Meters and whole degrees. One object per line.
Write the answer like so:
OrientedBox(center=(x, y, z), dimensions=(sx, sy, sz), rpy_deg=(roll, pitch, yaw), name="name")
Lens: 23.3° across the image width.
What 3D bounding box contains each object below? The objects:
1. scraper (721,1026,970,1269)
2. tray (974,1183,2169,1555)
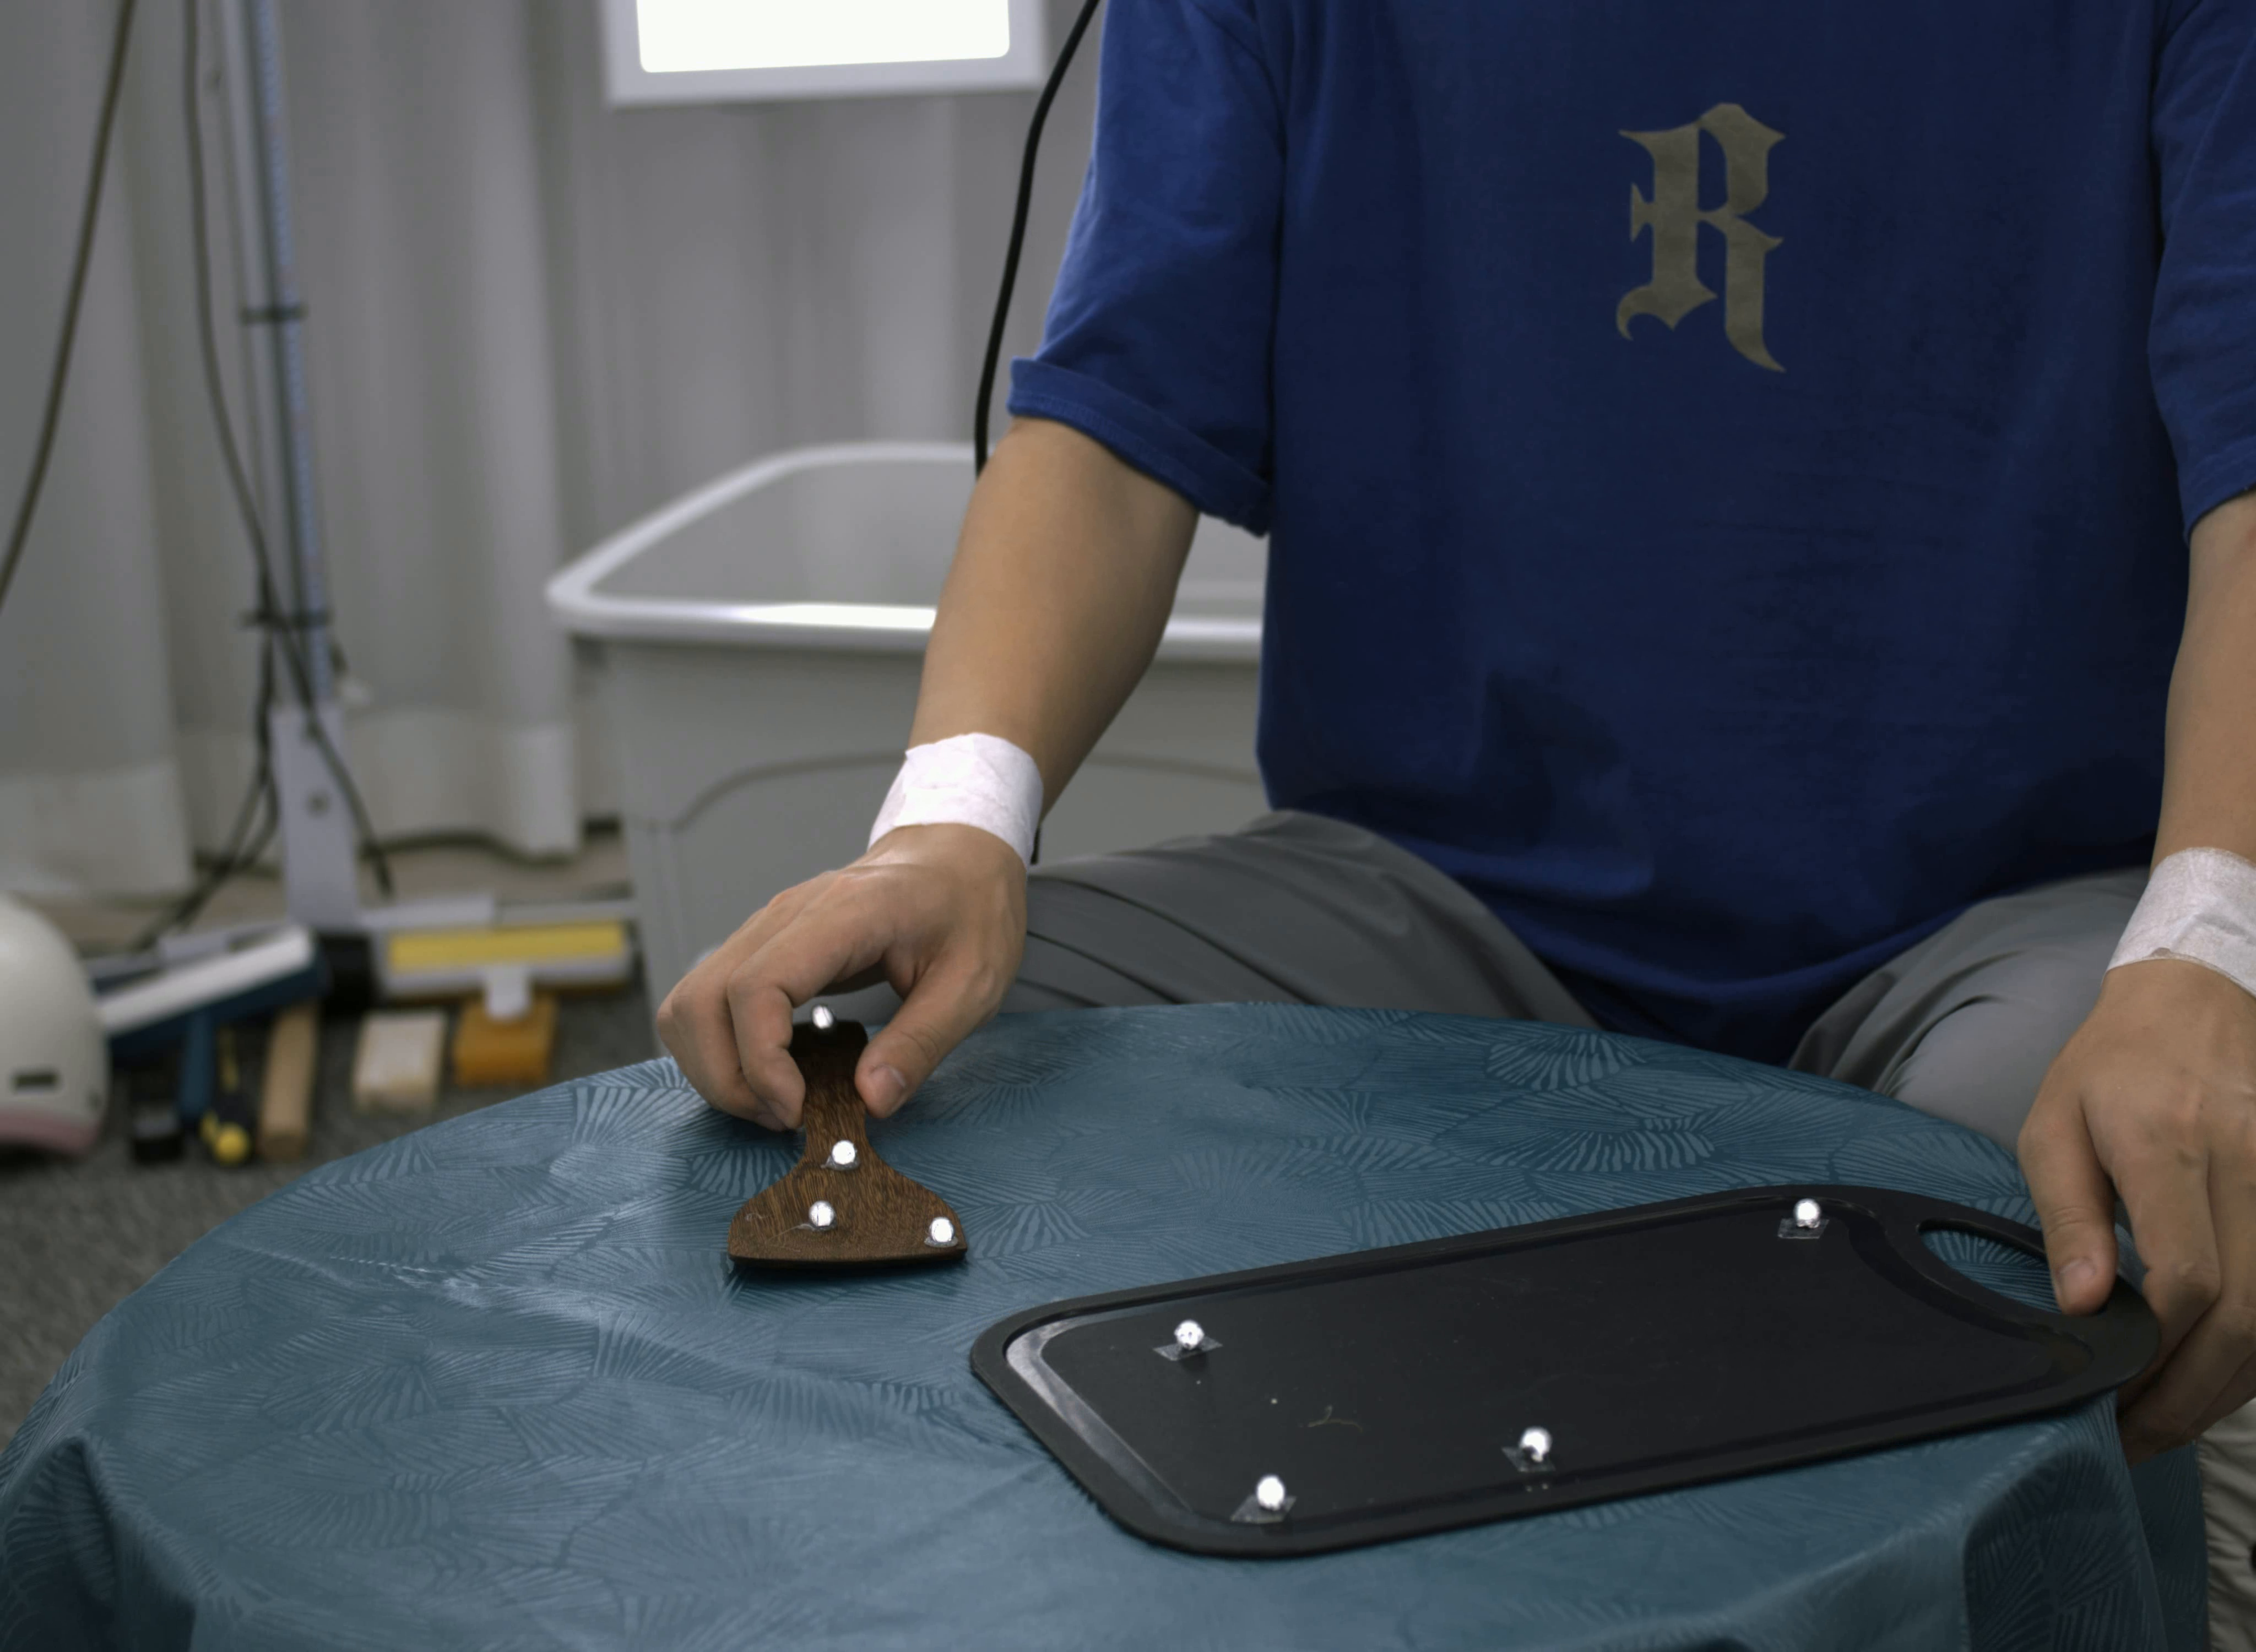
OrientedBox(center=(-0.093, 0.102, 1.741), dimensions=(0.075, 0.011, 0.213), rpy_deg=(-1, 18, -4), name="scraper")
OrientedBox(center=(0.129, 0.147, 1.550), dimensions=(0.324, 0.010, 0.213), rpy_deg=(-8, 16, -18), name="tray")
